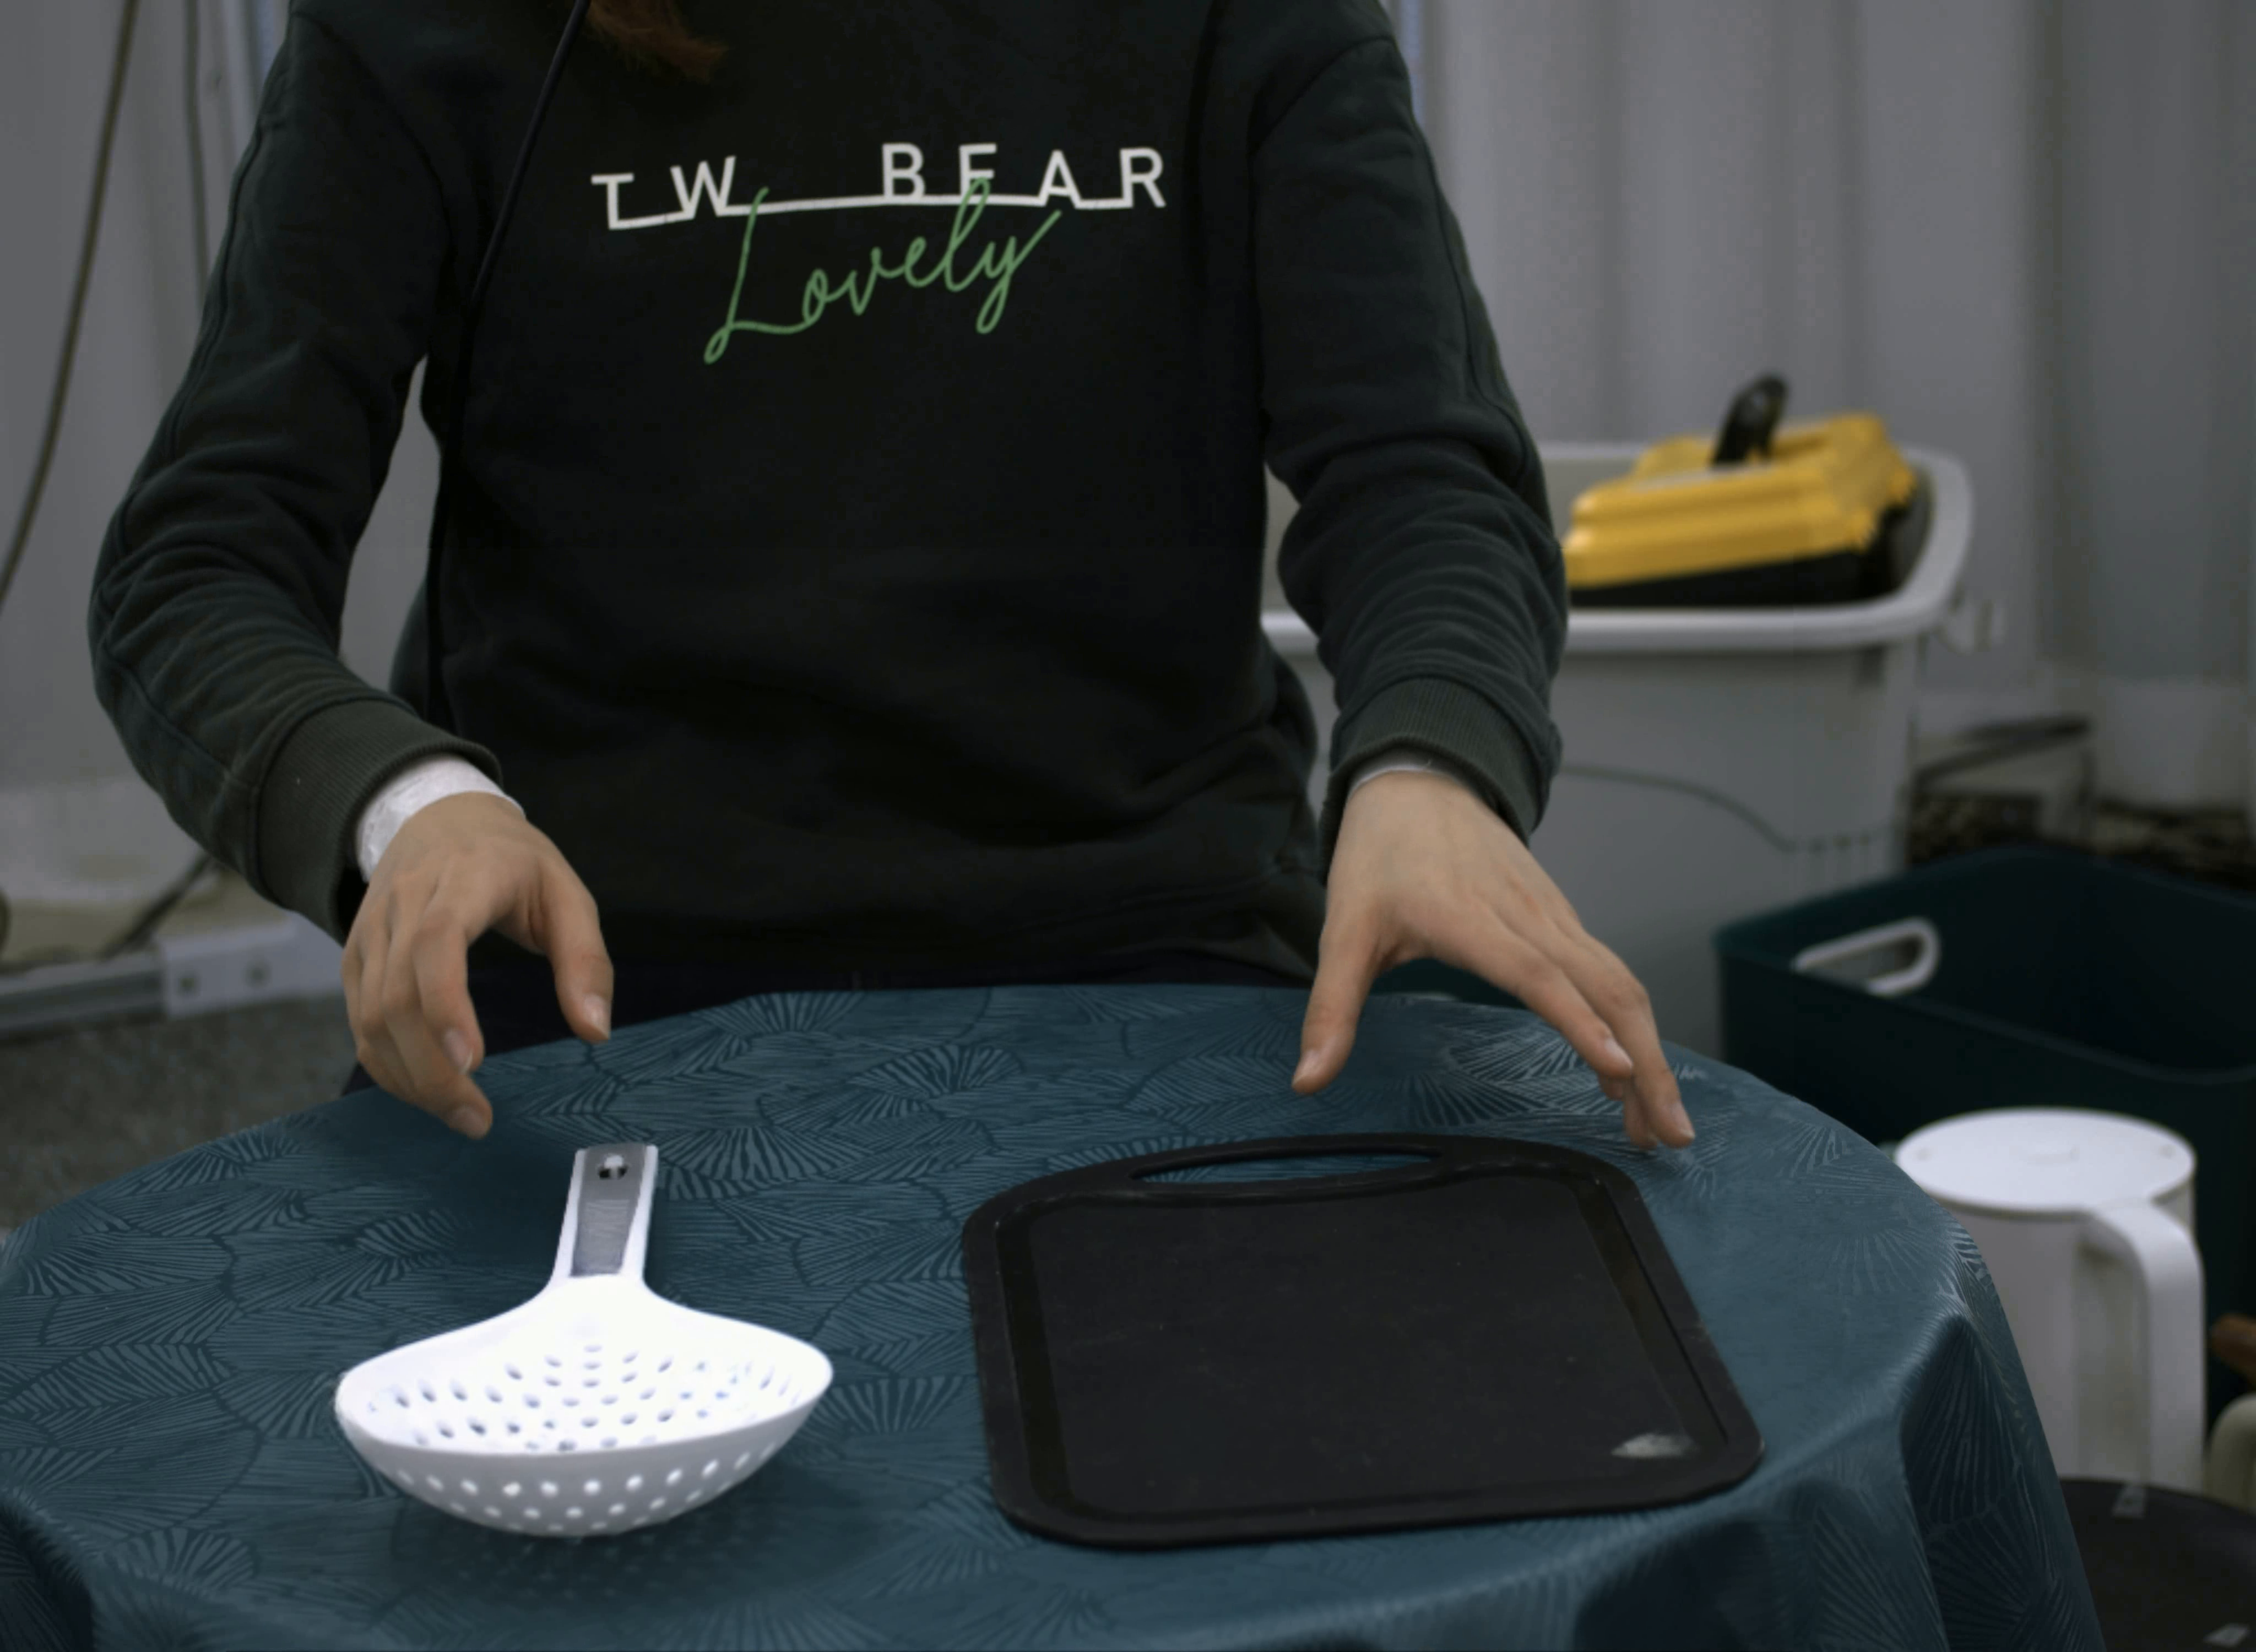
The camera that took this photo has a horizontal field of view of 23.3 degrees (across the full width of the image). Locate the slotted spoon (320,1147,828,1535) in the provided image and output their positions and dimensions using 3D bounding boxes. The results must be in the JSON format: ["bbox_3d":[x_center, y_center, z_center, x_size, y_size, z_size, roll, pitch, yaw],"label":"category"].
[{"bbox_3d":[-0.153,0.138,1.568,0.135,0.045,0.352,-1,14,-3],"label":"slotted spoon"}]

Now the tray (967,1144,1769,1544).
[{"bbox_3d":[0.061,0.143,1.586,0.210,0.010,0.327,-3,15,-3],"label":"tray"}]
